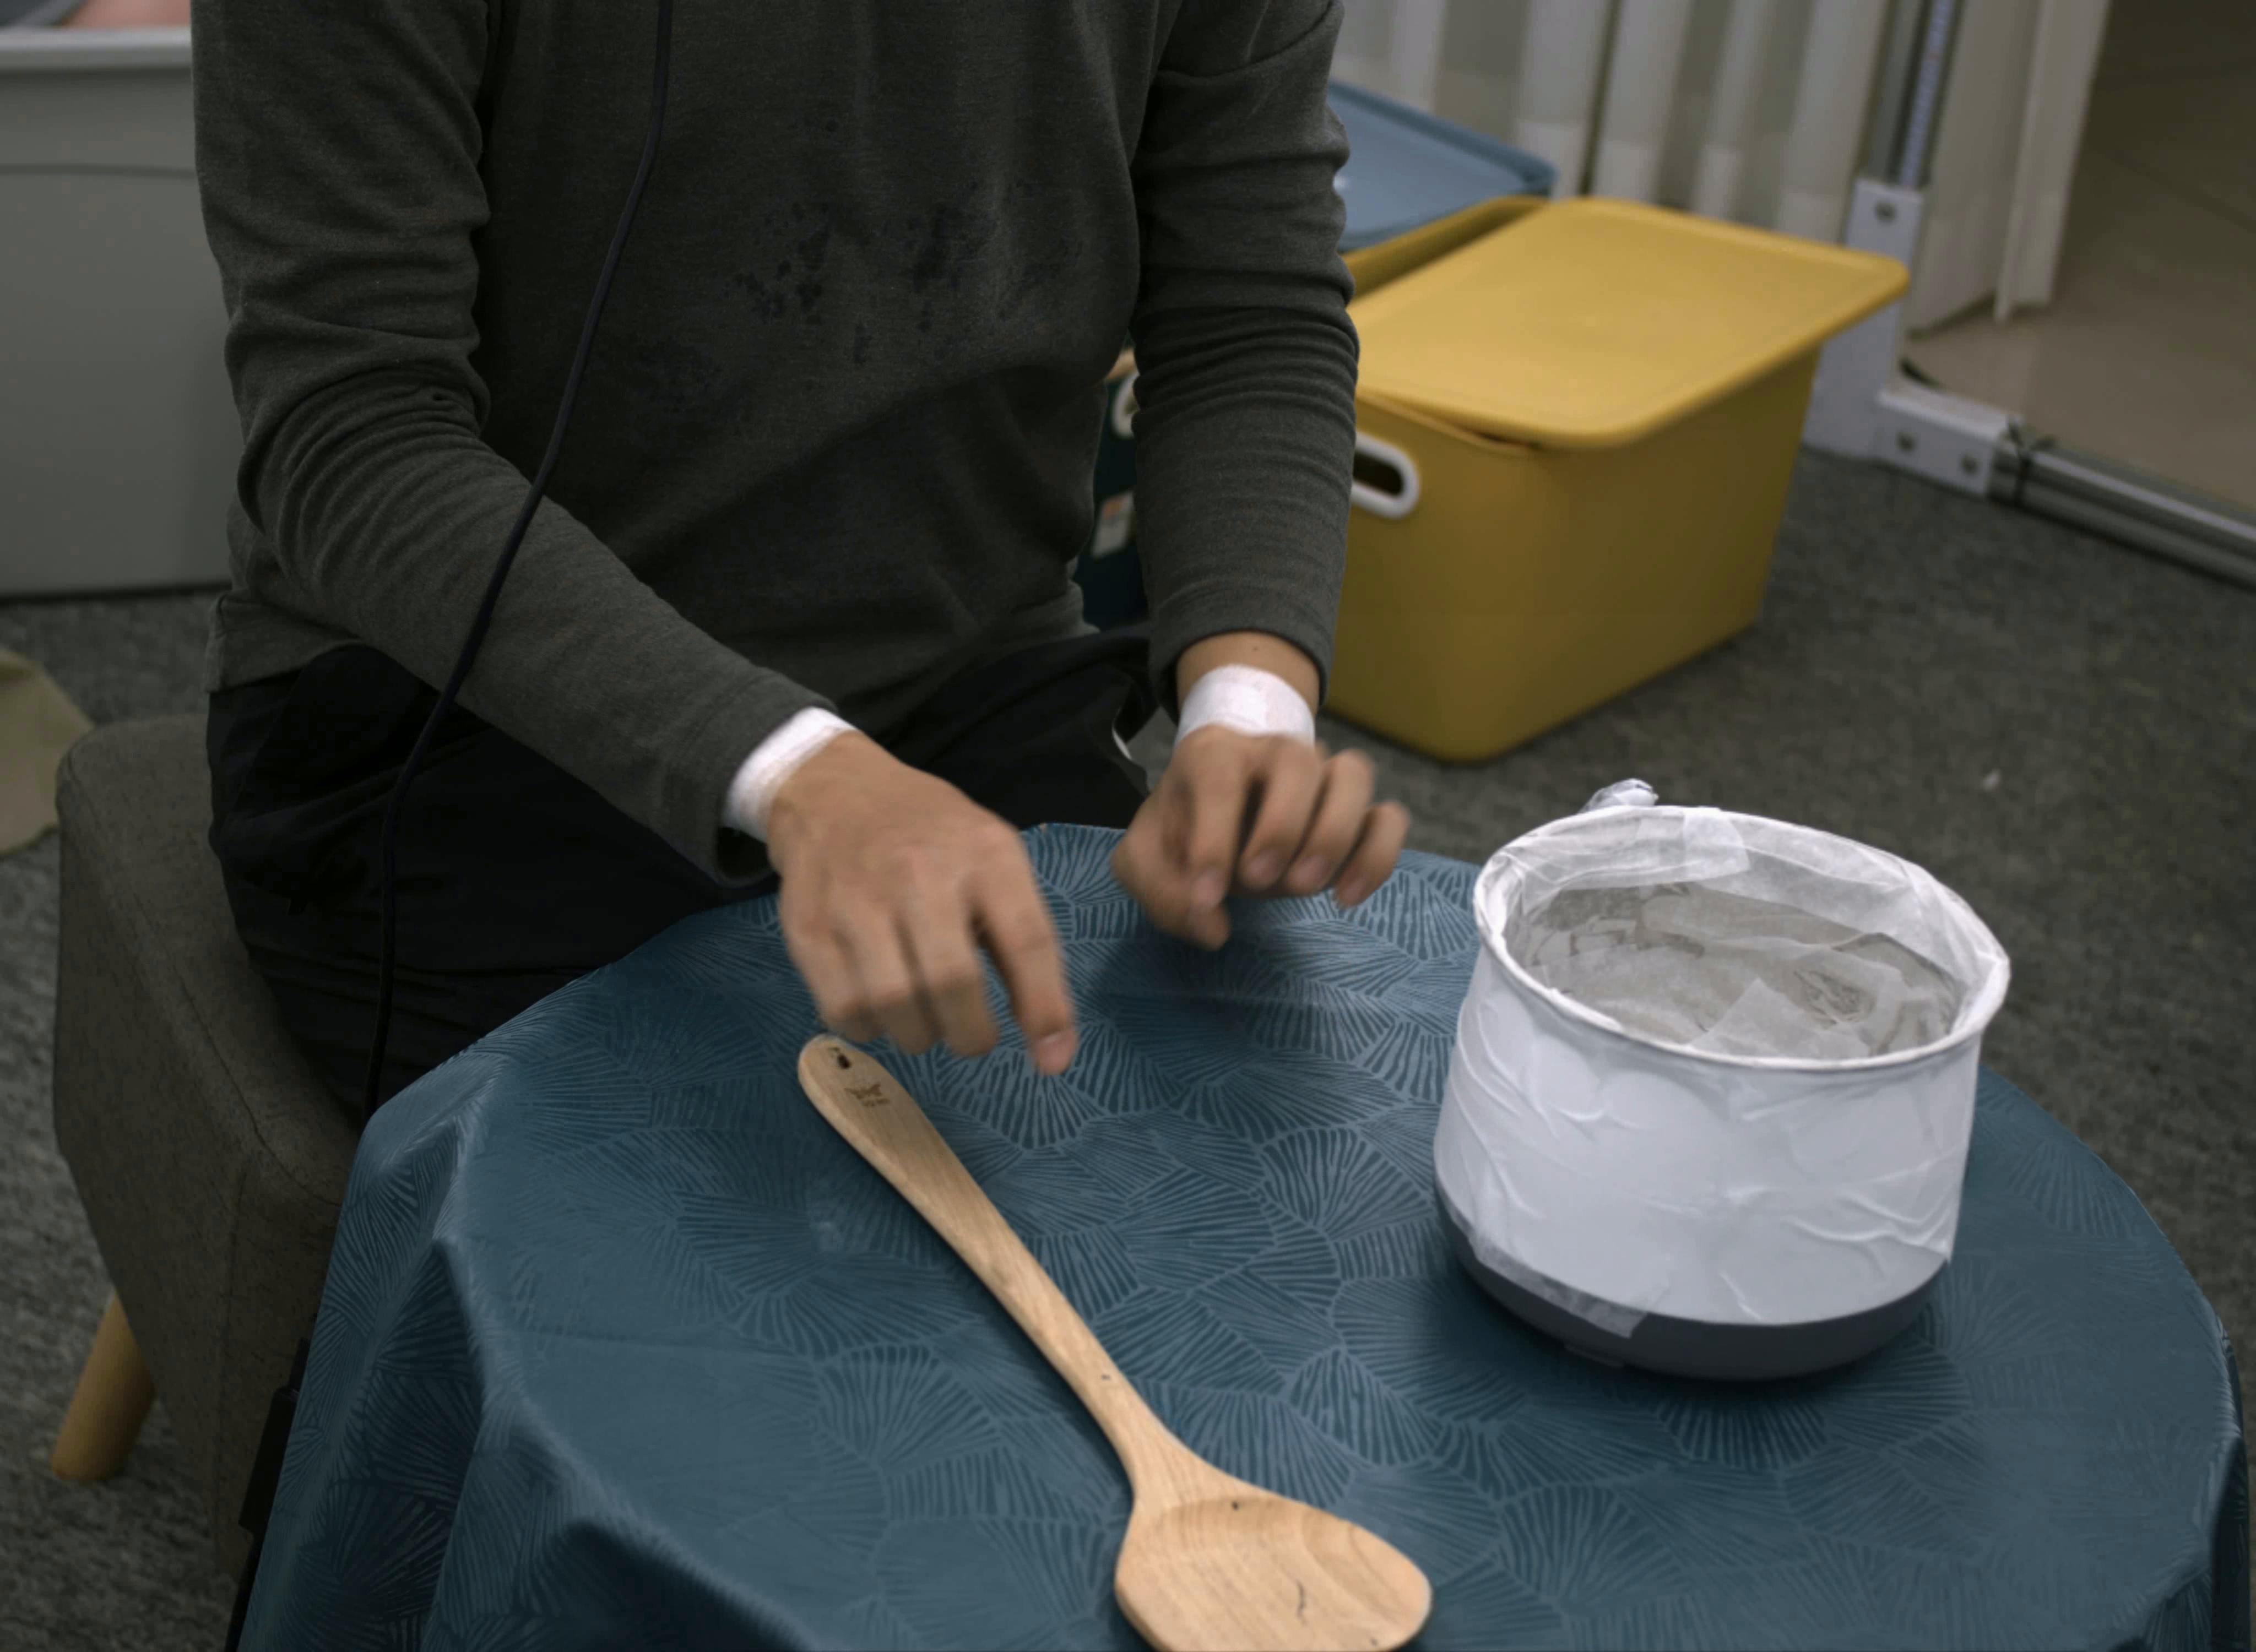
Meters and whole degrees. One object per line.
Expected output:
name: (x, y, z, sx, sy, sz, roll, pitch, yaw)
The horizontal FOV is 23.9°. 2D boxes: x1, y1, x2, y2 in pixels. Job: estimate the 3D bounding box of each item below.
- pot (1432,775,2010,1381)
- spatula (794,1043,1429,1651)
pot: (0.185, 0.077, 1.788, 0.177, 0.136, 0.236, -2, 28, -18)
spatula: (-0.029, 0.163, 1.703, 0.095, 0.018, 0.394, -6, 29, -26)
